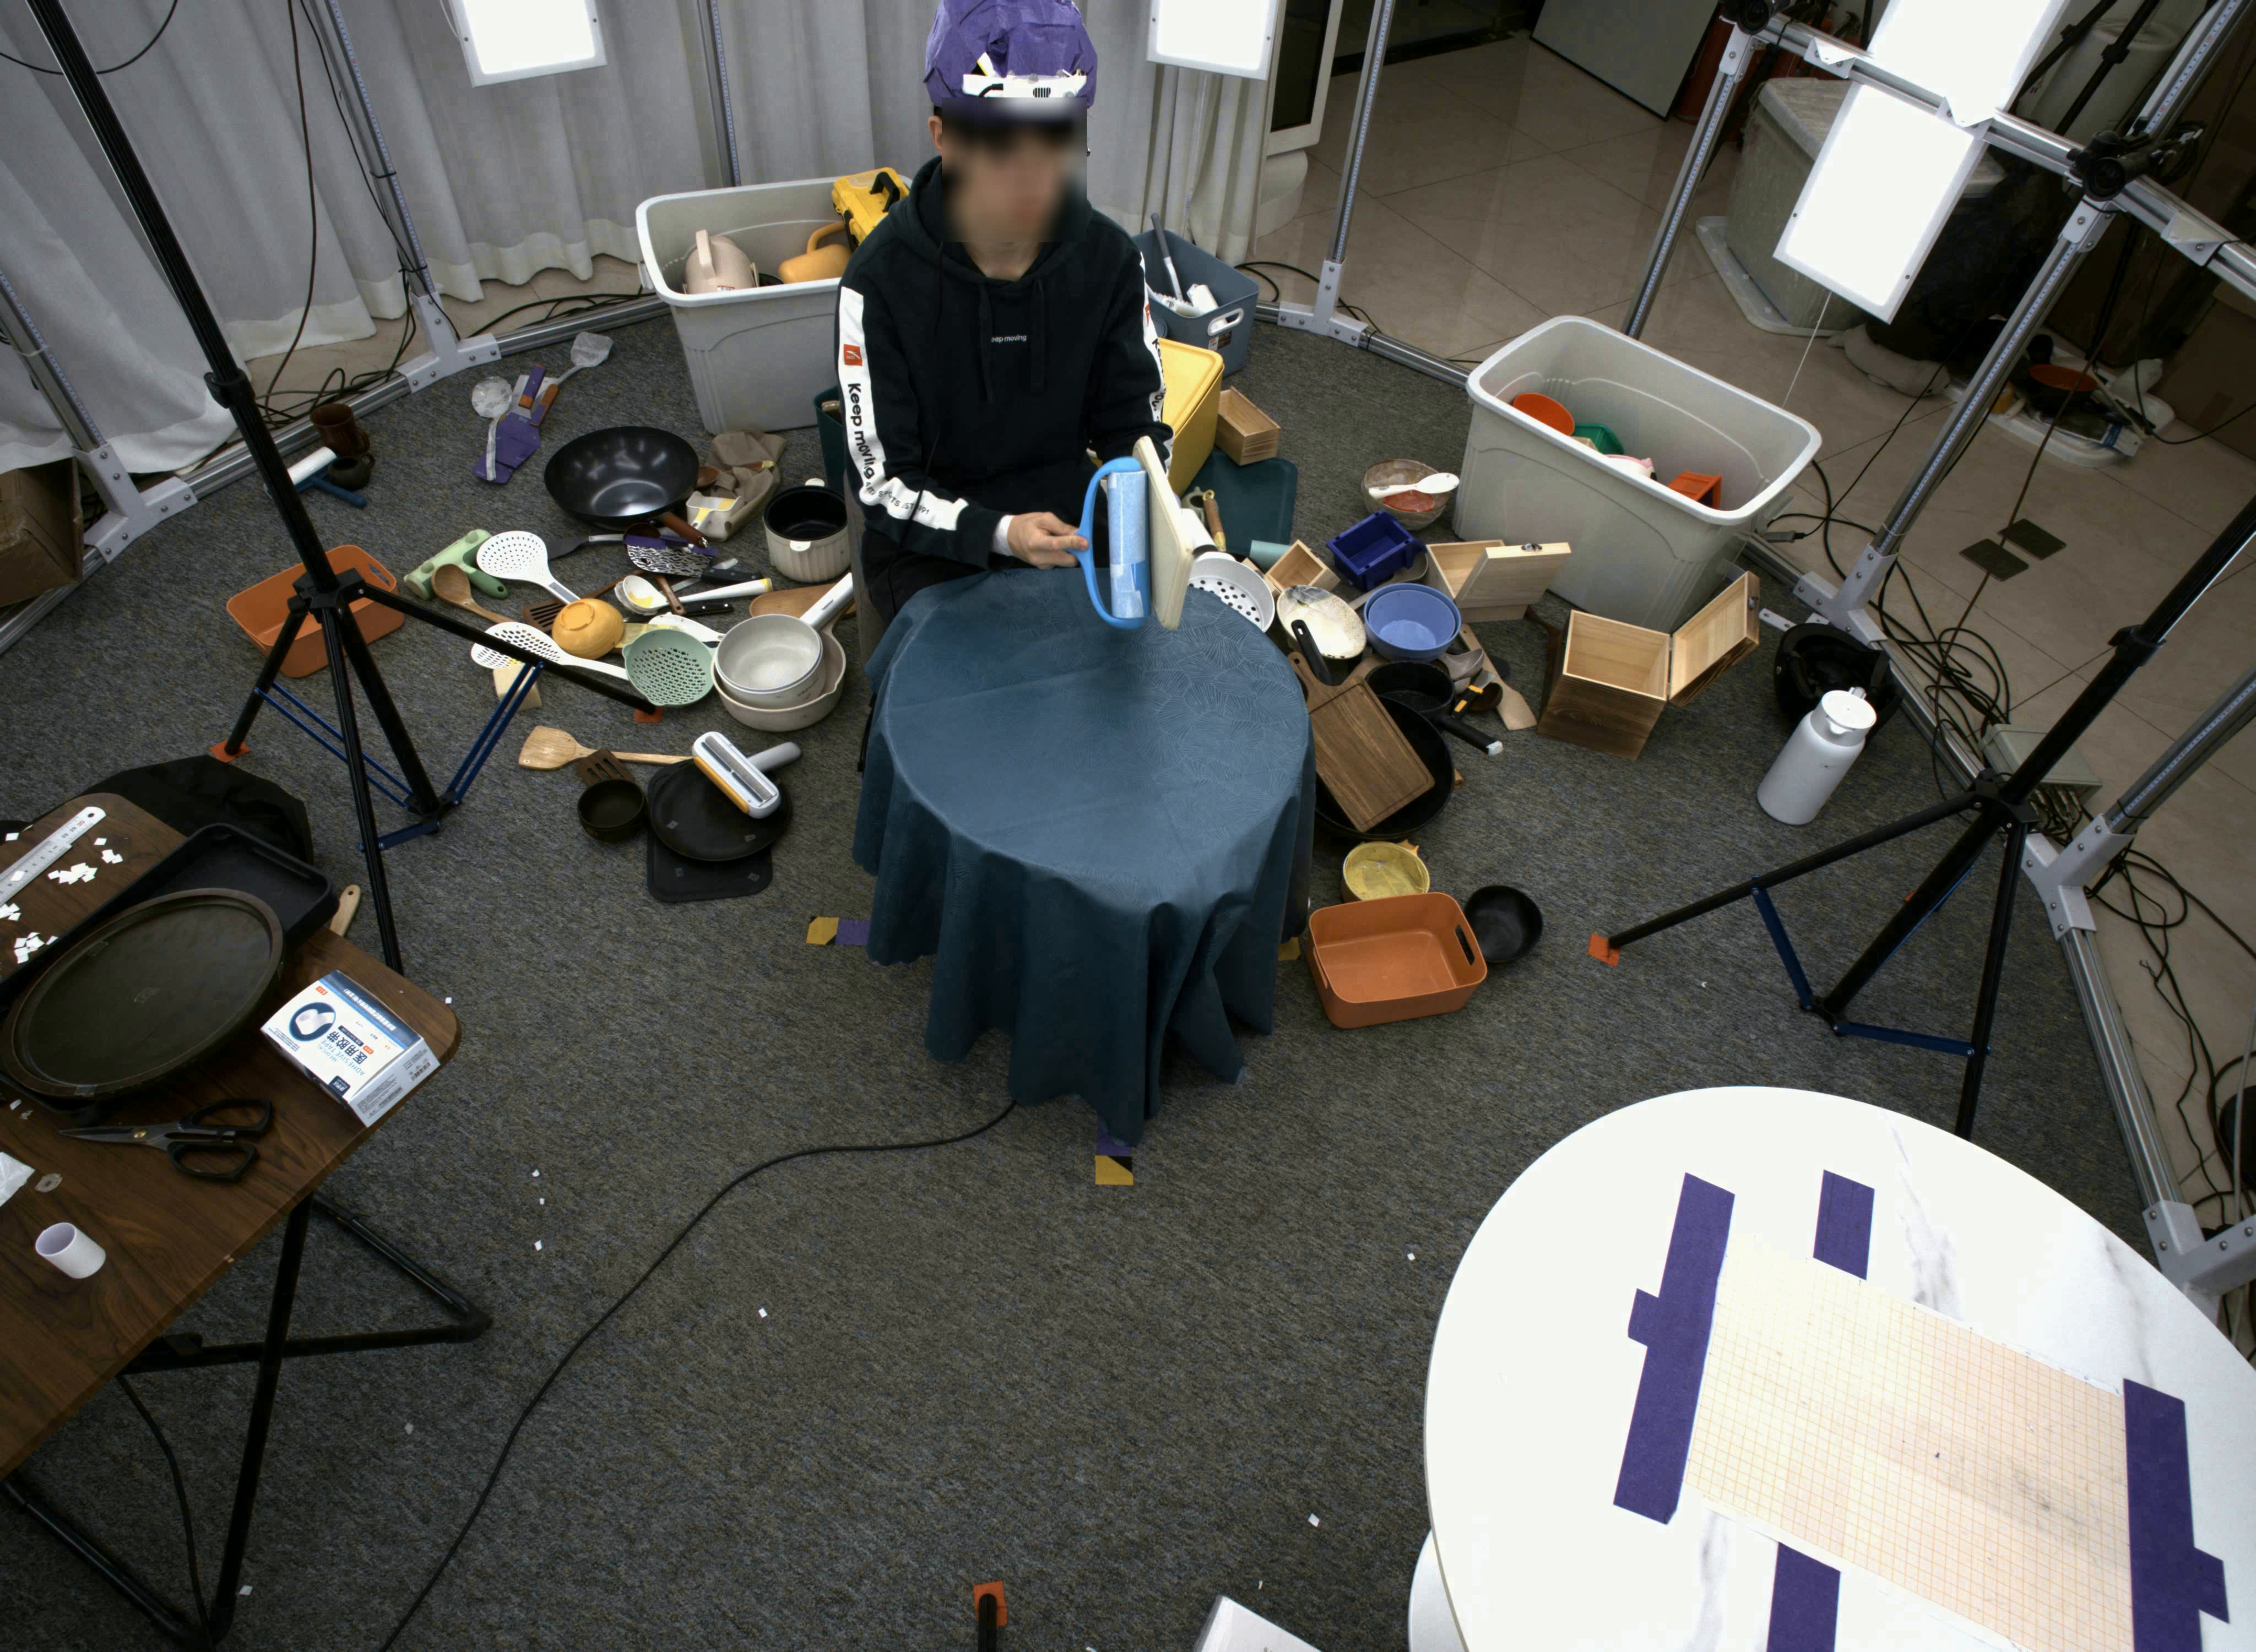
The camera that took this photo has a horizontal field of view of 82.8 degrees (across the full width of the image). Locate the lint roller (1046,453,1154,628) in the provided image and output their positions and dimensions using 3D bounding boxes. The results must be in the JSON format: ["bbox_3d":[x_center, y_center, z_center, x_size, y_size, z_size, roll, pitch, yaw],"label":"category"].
[{"bbox_3d":[-0.049,-0.382,1.745,0.181,0.226,0.068,4,18,30],"label":"lint roller"}]

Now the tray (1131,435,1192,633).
[{"bbox_3d":[0.034,-0.391,1.726,0.017,0.167,0.245,-7,55,-15],"label":"tray"}]
